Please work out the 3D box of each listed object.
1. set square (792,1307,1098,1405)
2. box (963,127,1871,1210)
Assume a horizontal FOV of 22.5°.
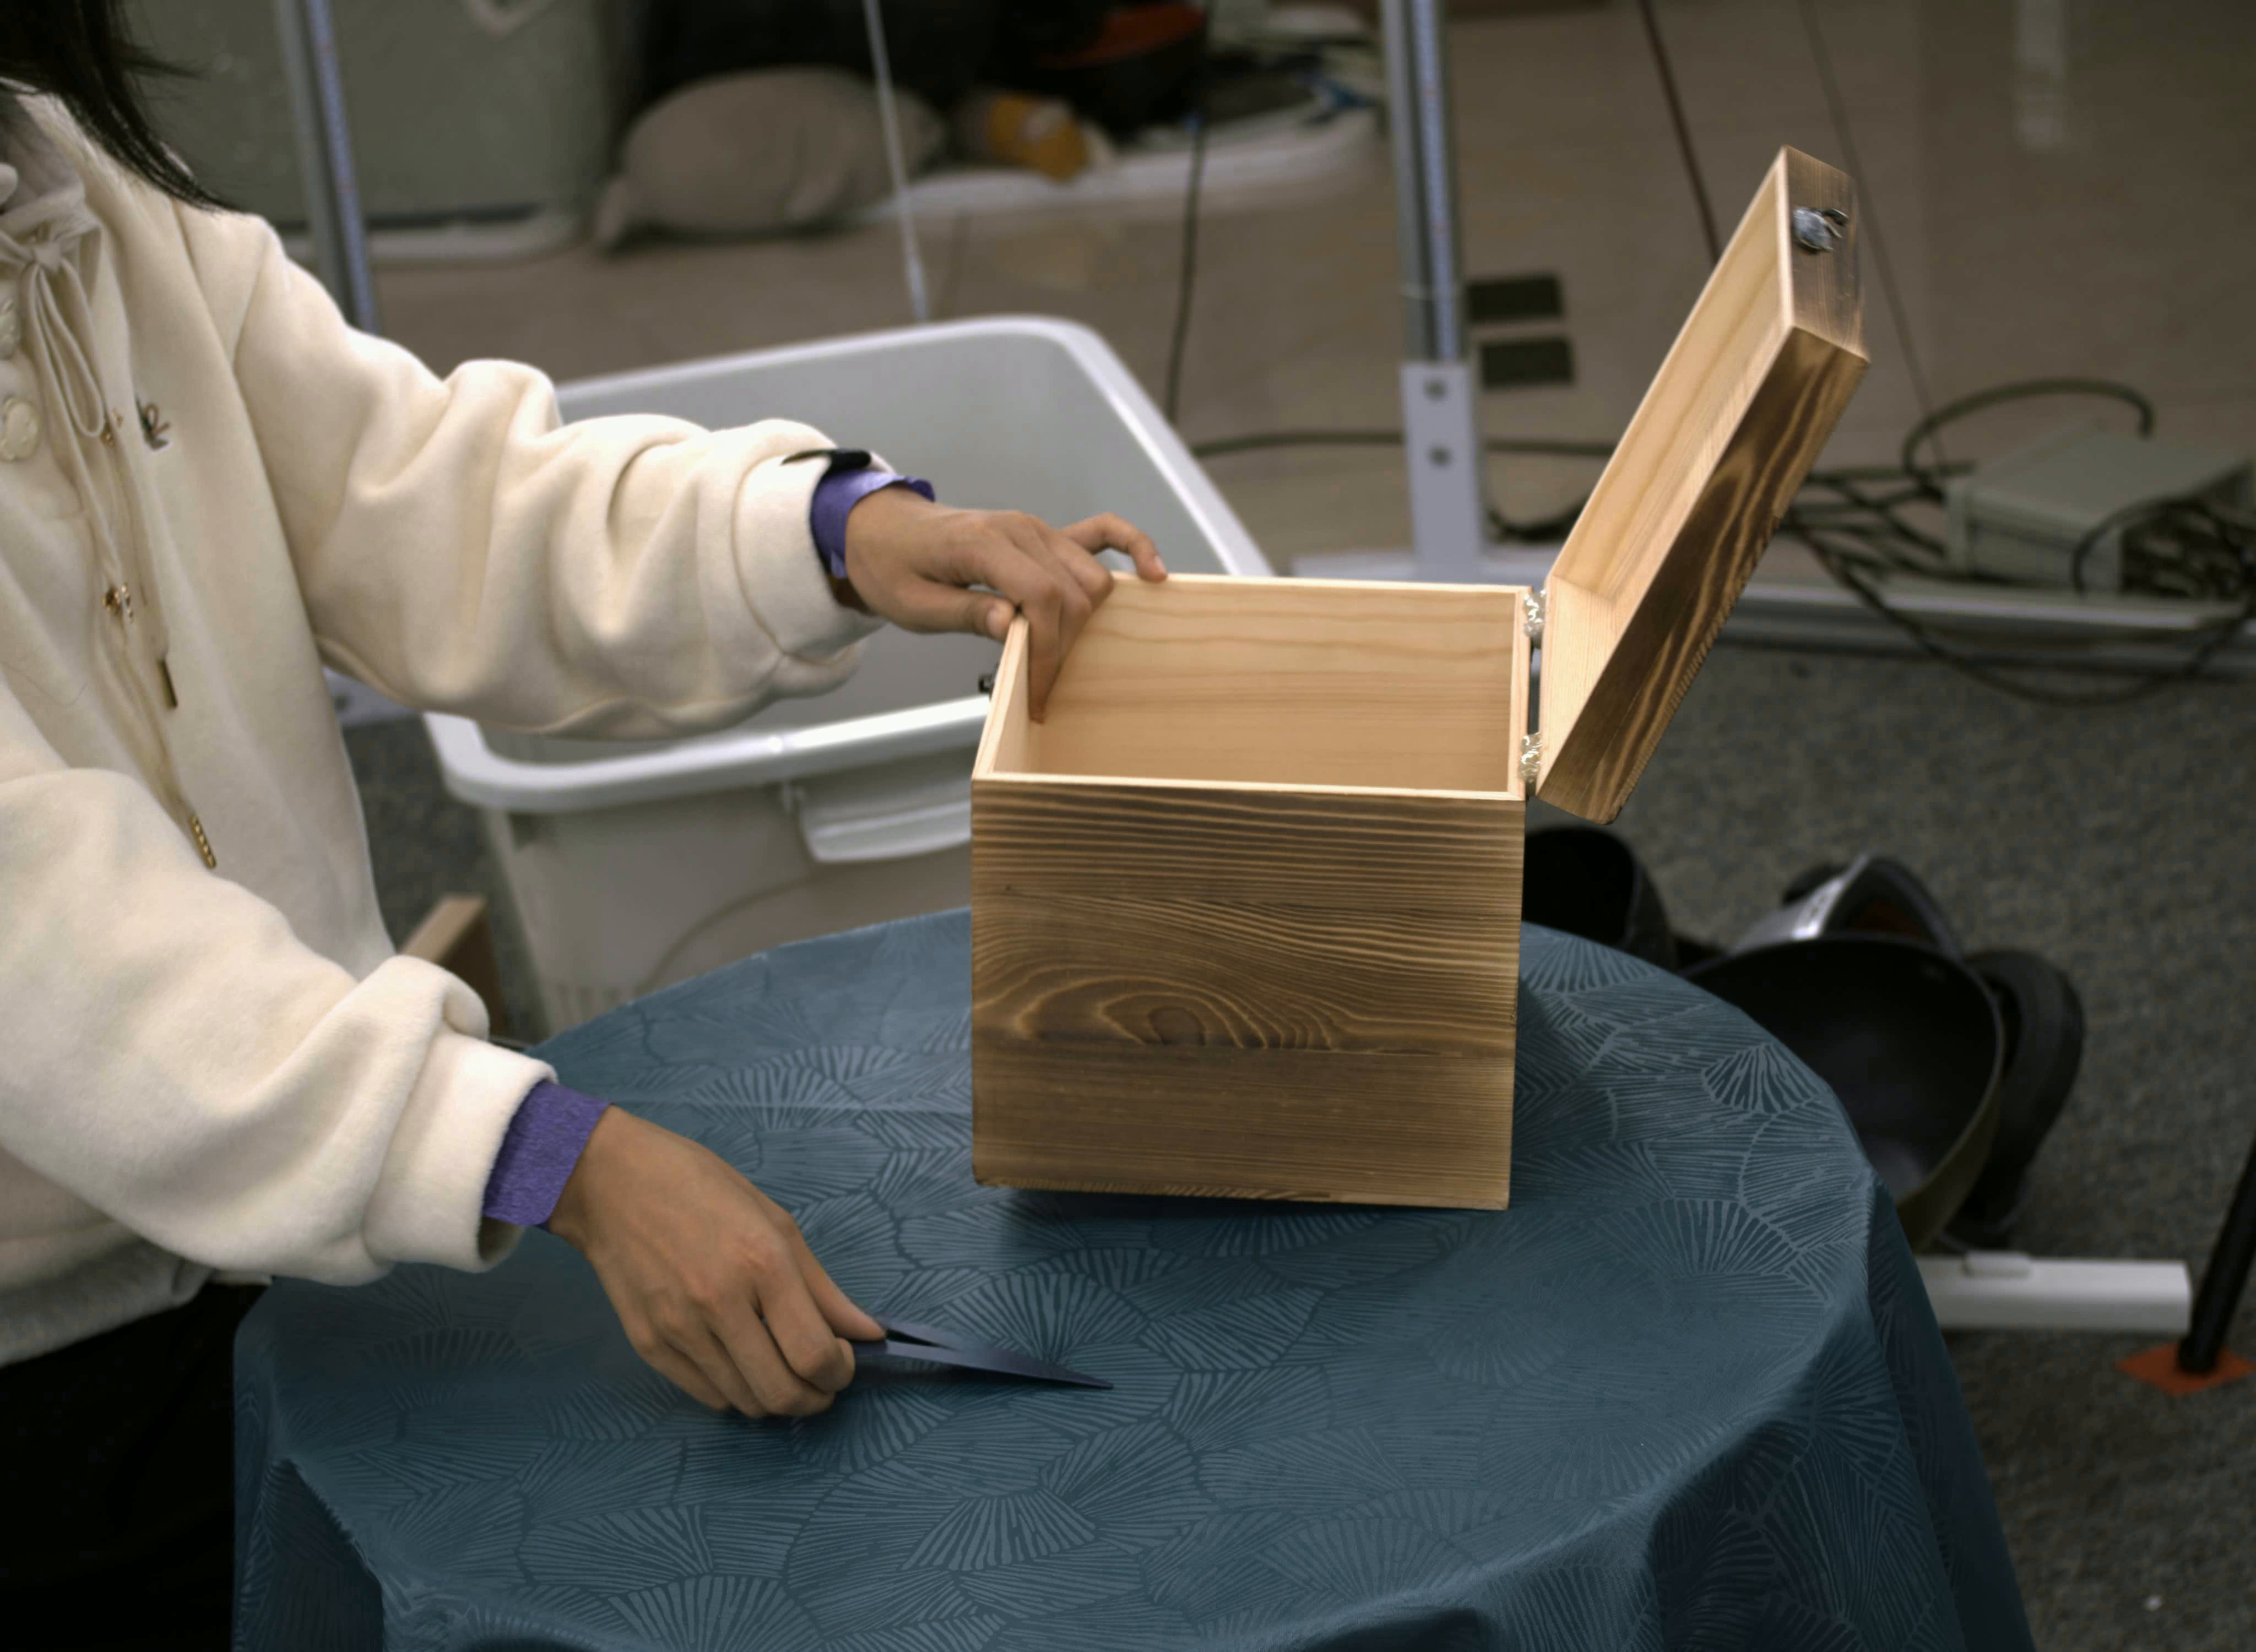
[{"bbox_3d":[-0.073,0.190,2.026,0.131,0.006,0.061,16,13,41],"label":"set square"},{"bbox_3d":[0.103,-0.064,2.118,0.321,0.381,0.205,3,26,4],"label":"box"}]
